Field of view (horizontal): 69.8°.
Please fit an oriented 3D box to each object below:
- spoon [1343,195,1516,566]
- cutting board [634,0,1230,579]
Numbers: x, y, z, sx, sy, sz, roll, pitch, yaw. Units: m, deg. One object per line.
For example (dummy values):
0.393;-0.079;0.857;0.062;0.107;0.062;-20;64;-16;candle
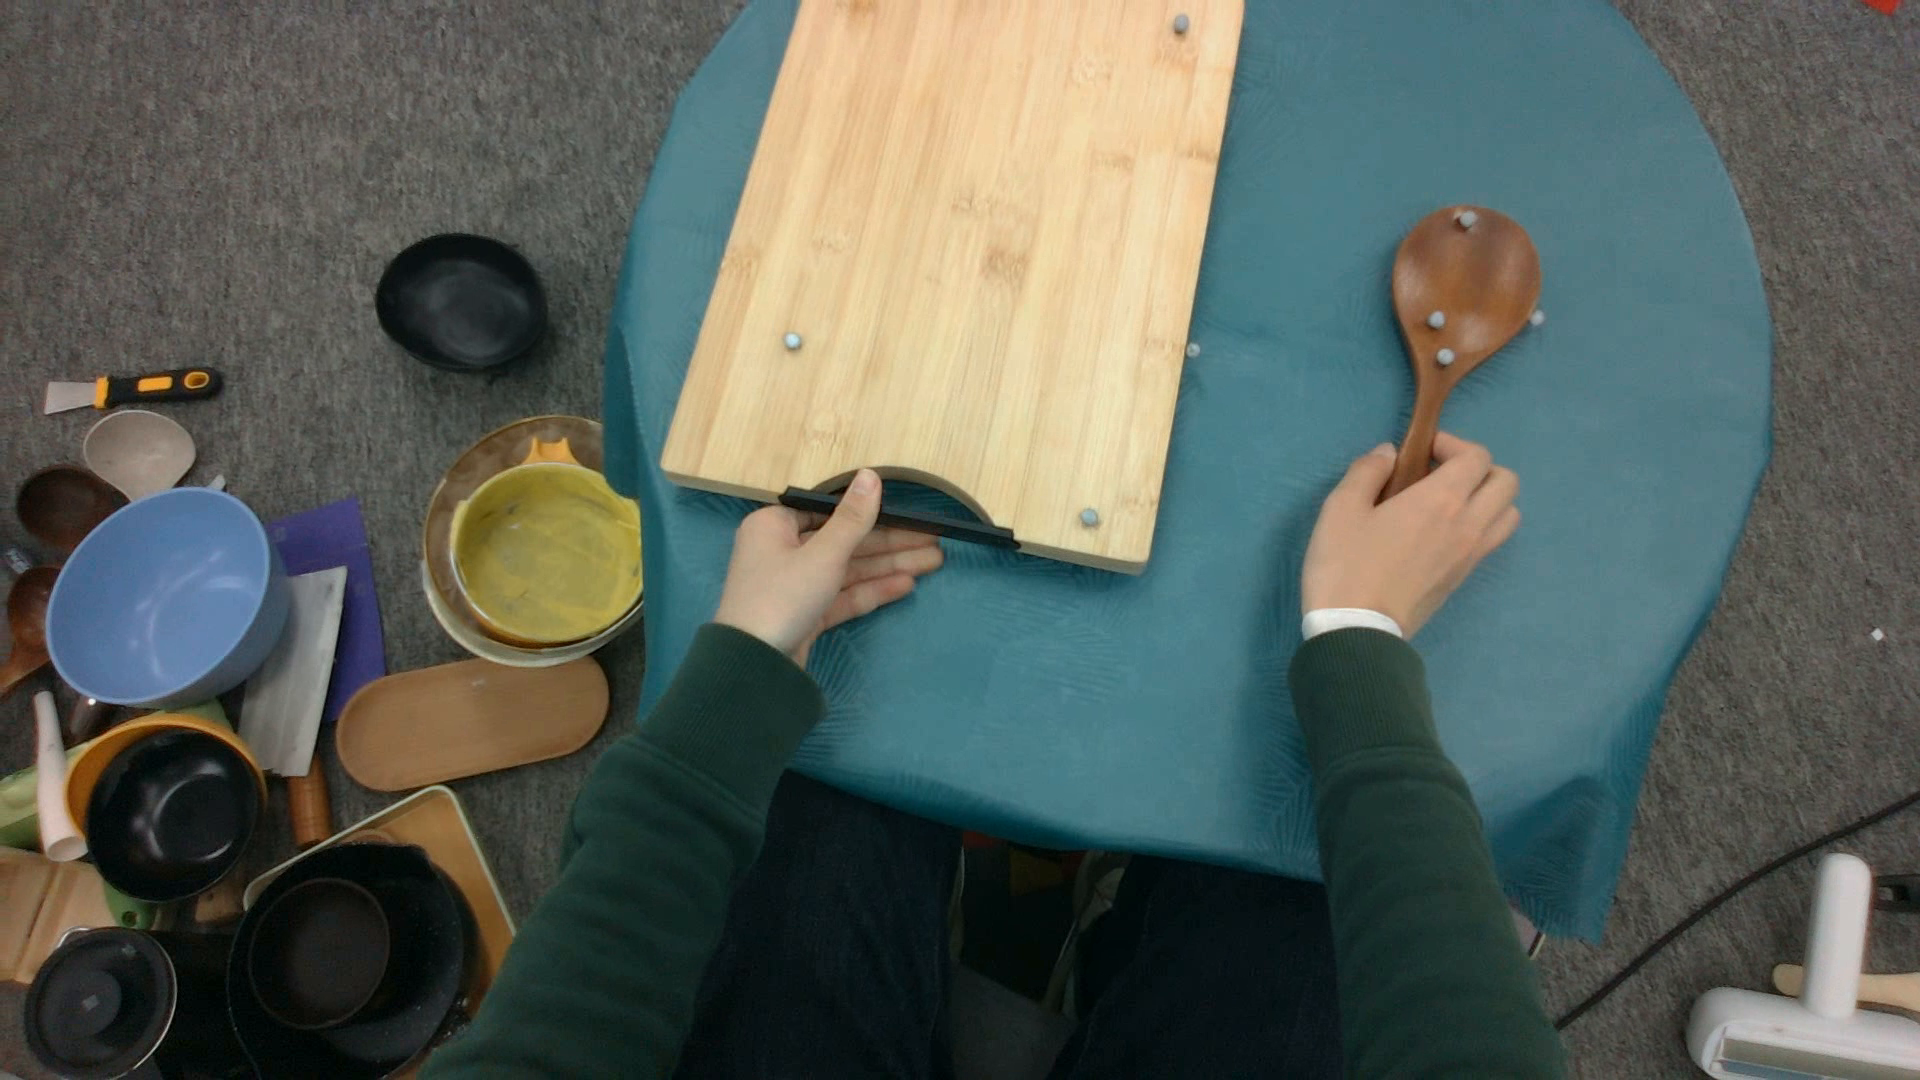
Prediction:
0.230;-0.084;0.696;0.075;0.017;0.216;19;69;6;spoon
-0.003;-0.163;0.719;0.250;0.023;0.350;10;69;4;cutting board
